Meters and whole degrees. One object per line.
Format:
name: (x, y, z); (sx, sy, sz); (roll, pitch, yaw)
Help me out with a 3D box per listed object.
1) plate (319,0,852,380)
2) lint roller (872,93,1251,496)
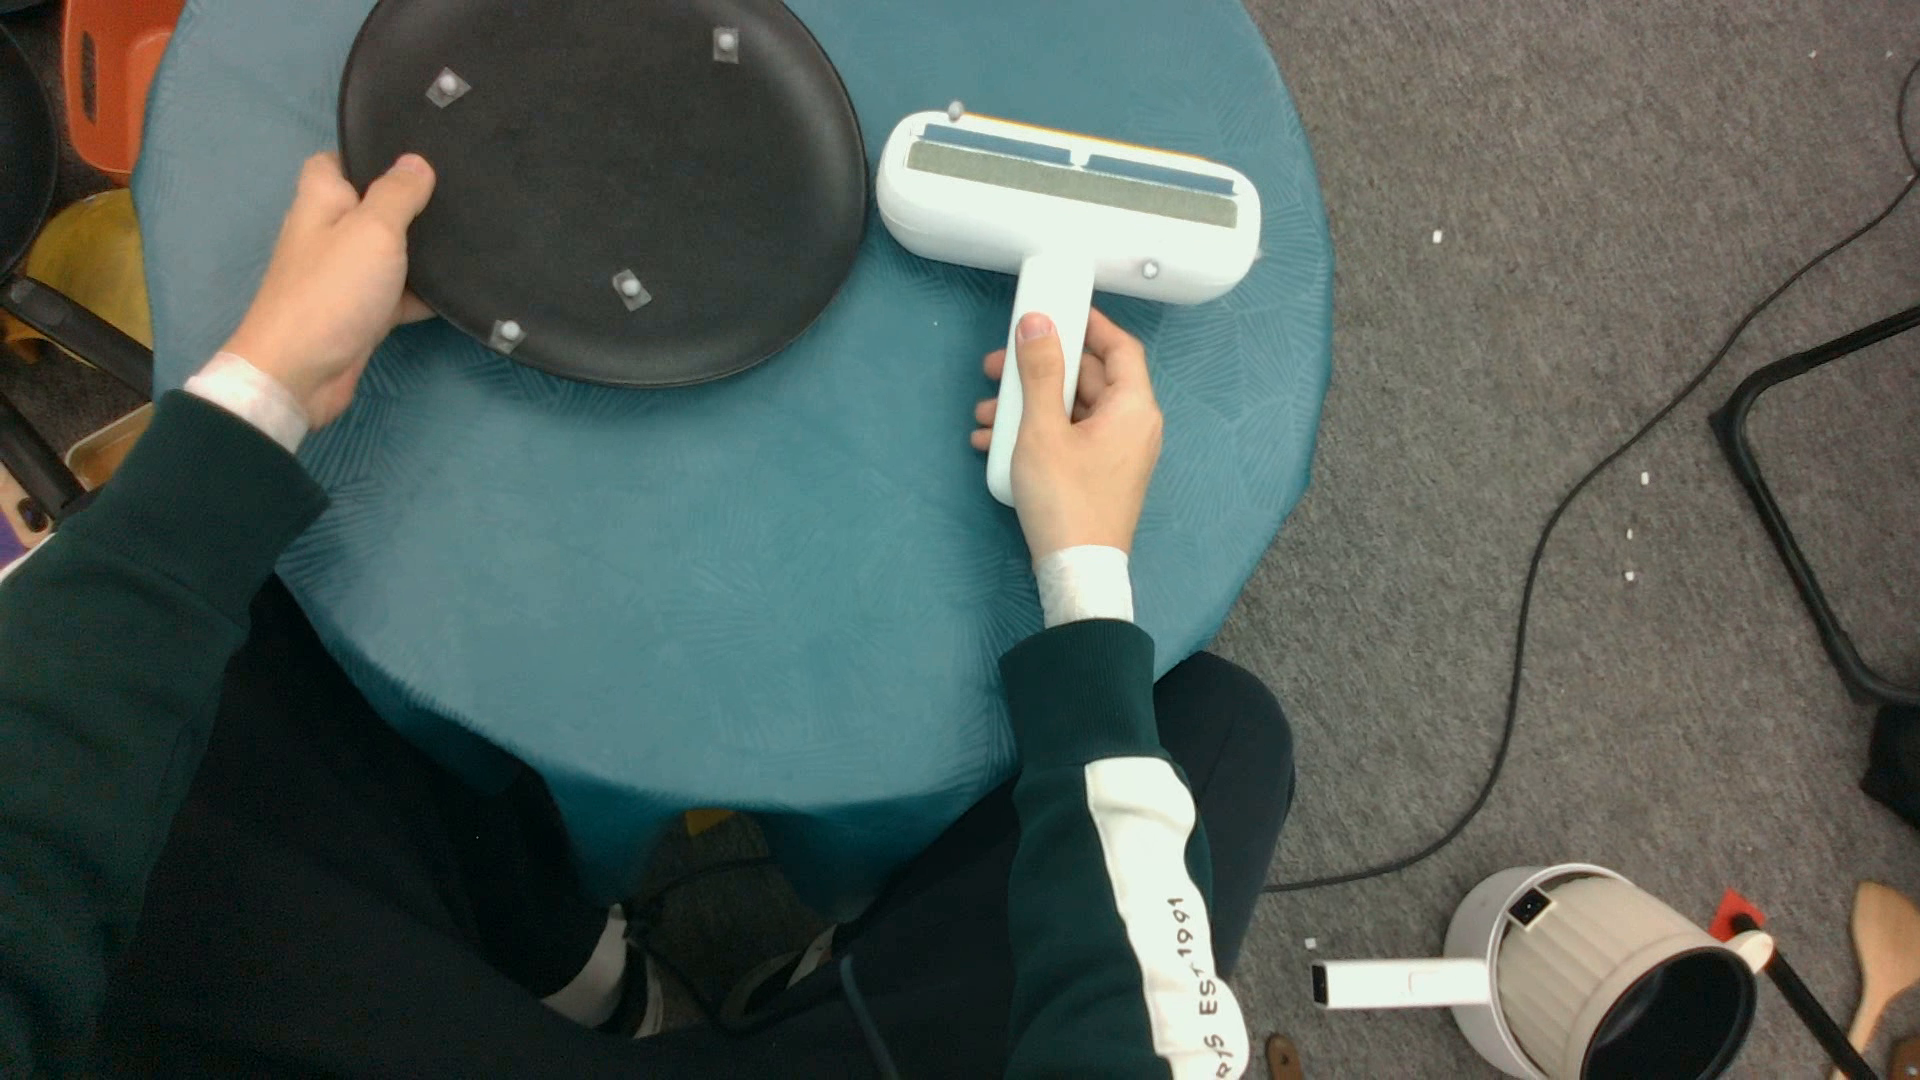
plate: (-0.172, -0.189, 0.659); (0.245, 0.023, 0.245); (5, 76, -19)
lint roller: (0.036, -0.117, 0.702); (0.193, 0.074, 0.192); (15, 86, -3)
